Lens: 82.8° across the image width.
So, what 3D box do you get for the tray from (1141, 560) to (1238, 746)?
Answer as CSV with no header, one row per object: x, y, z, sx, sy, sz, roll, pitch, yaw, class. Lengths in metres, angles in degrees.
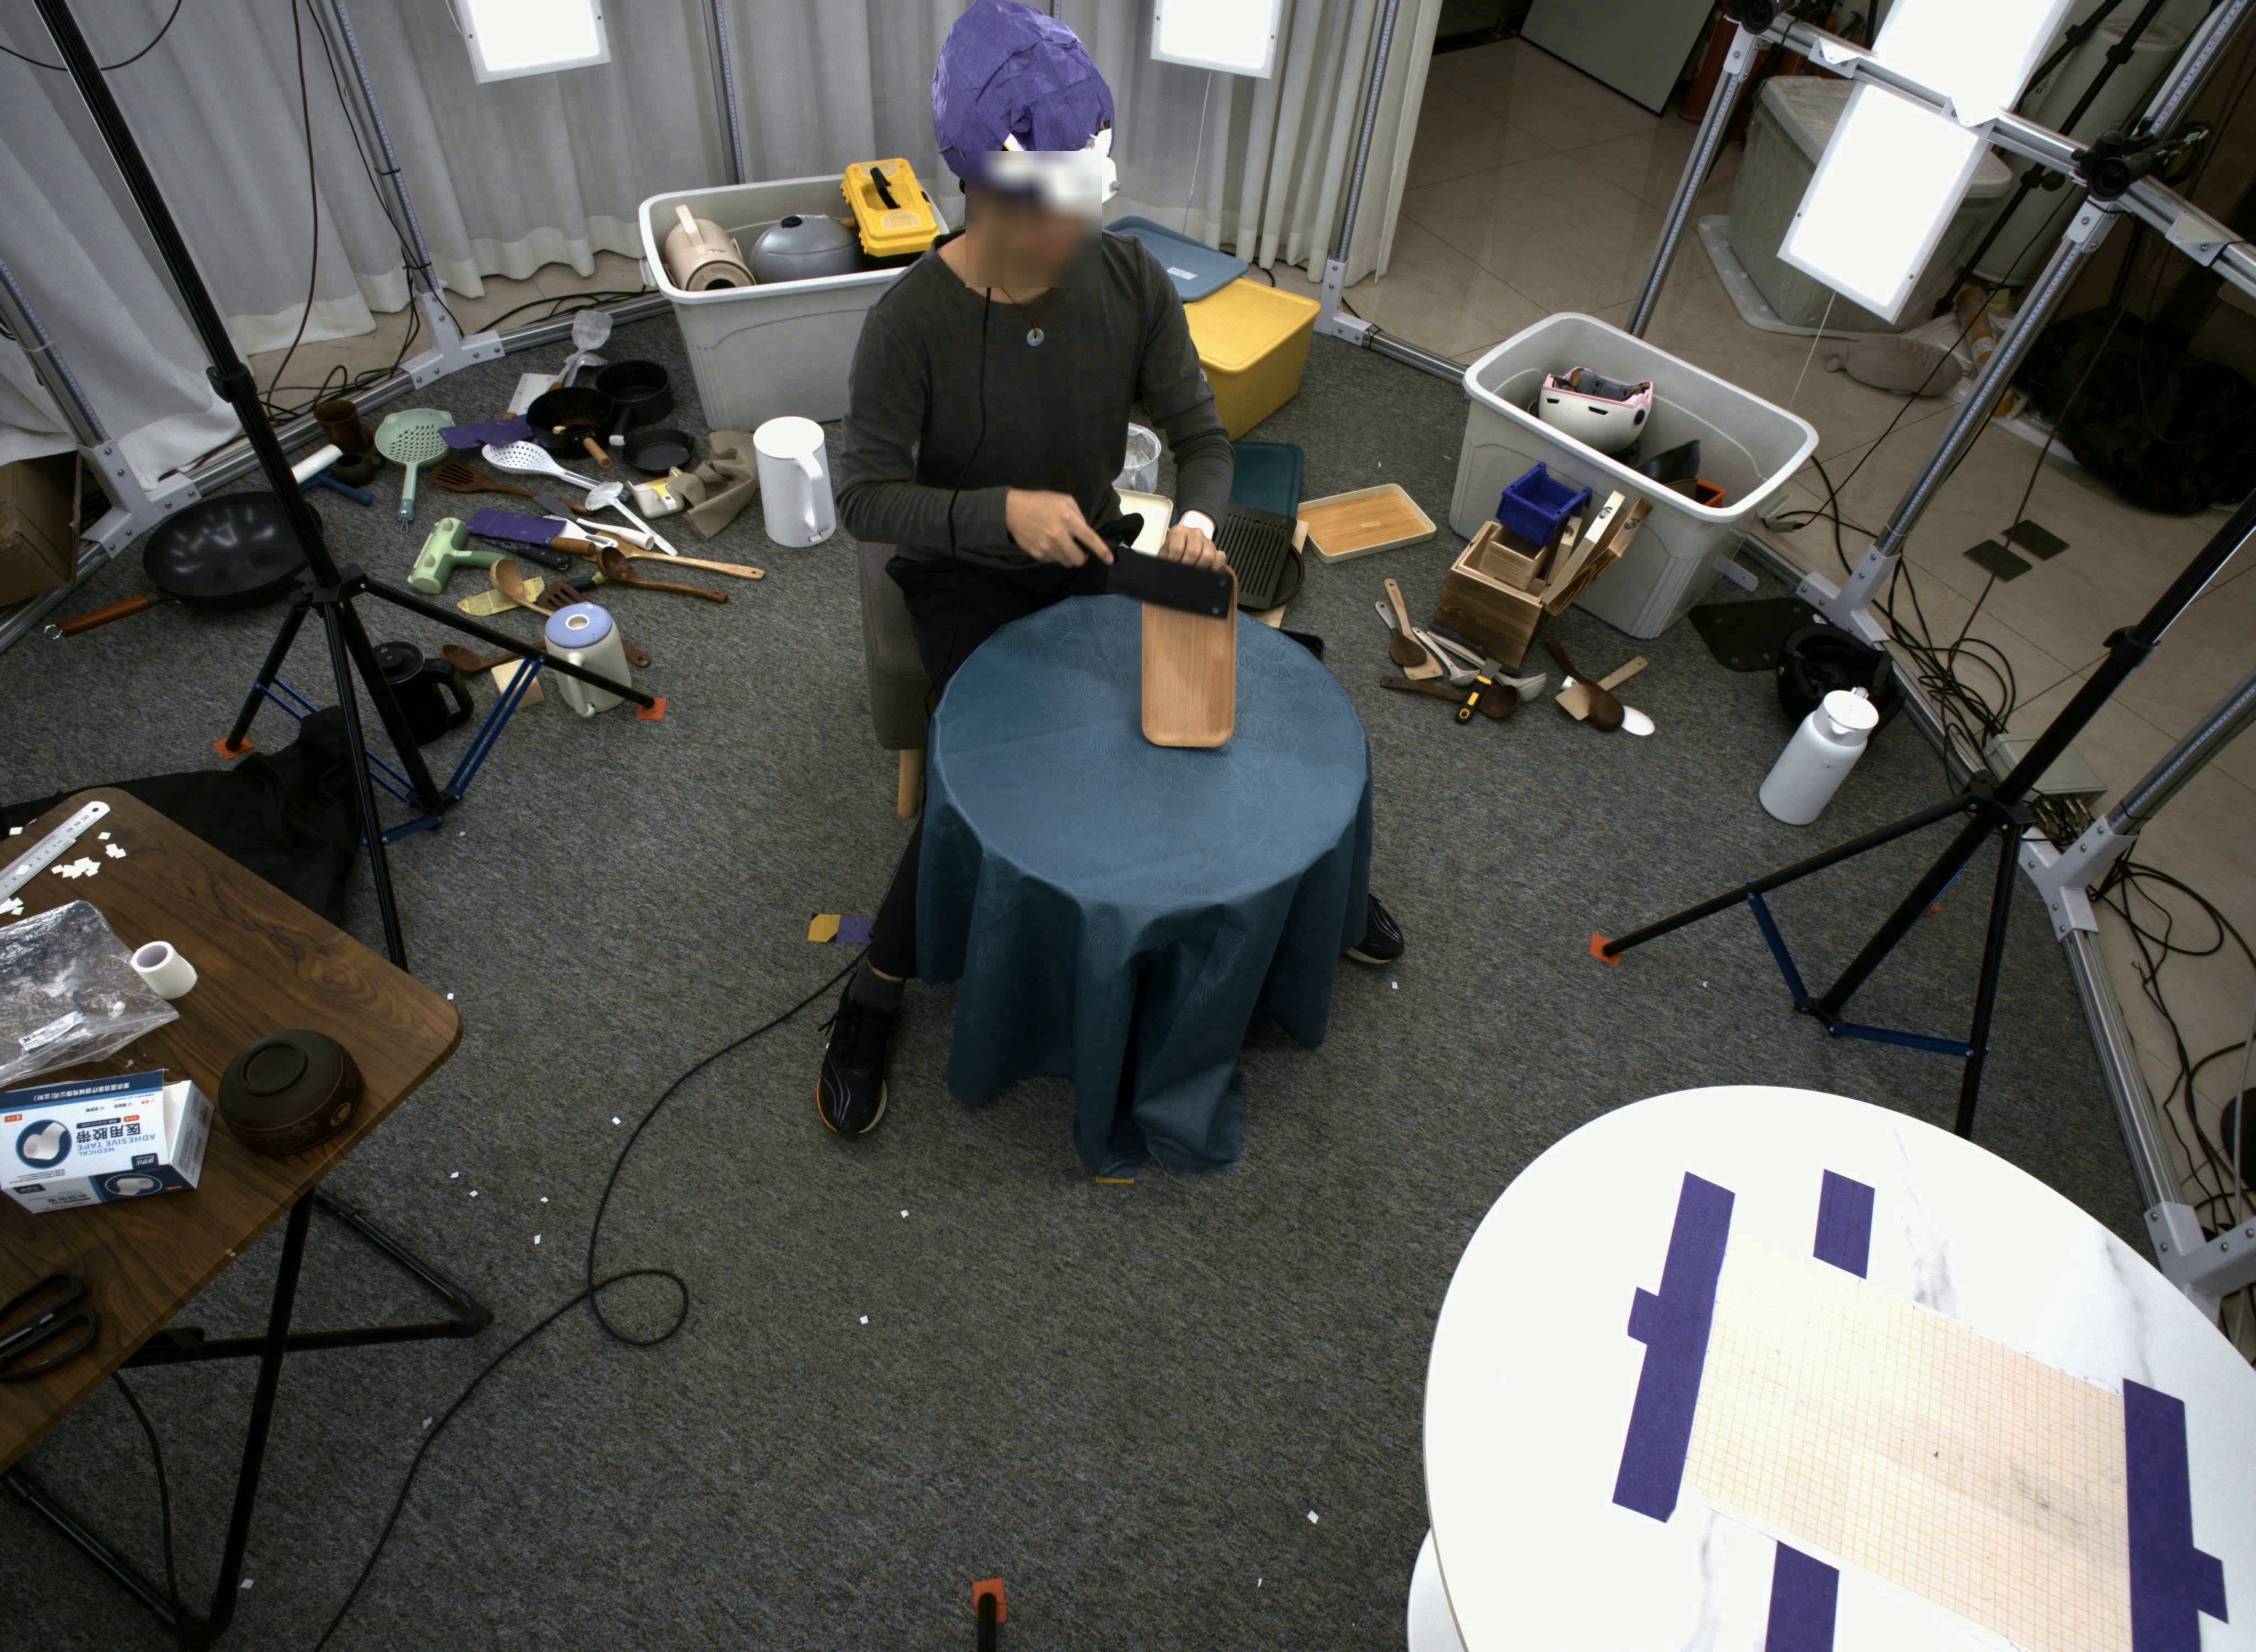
0.082,-0.233,1.735,0.130,0.248,0.023,2,12,4,tray

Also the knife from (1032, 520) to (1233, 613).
0.002,-0.349,1.710,0.305,0.079,0.021,23,30,22,knife
